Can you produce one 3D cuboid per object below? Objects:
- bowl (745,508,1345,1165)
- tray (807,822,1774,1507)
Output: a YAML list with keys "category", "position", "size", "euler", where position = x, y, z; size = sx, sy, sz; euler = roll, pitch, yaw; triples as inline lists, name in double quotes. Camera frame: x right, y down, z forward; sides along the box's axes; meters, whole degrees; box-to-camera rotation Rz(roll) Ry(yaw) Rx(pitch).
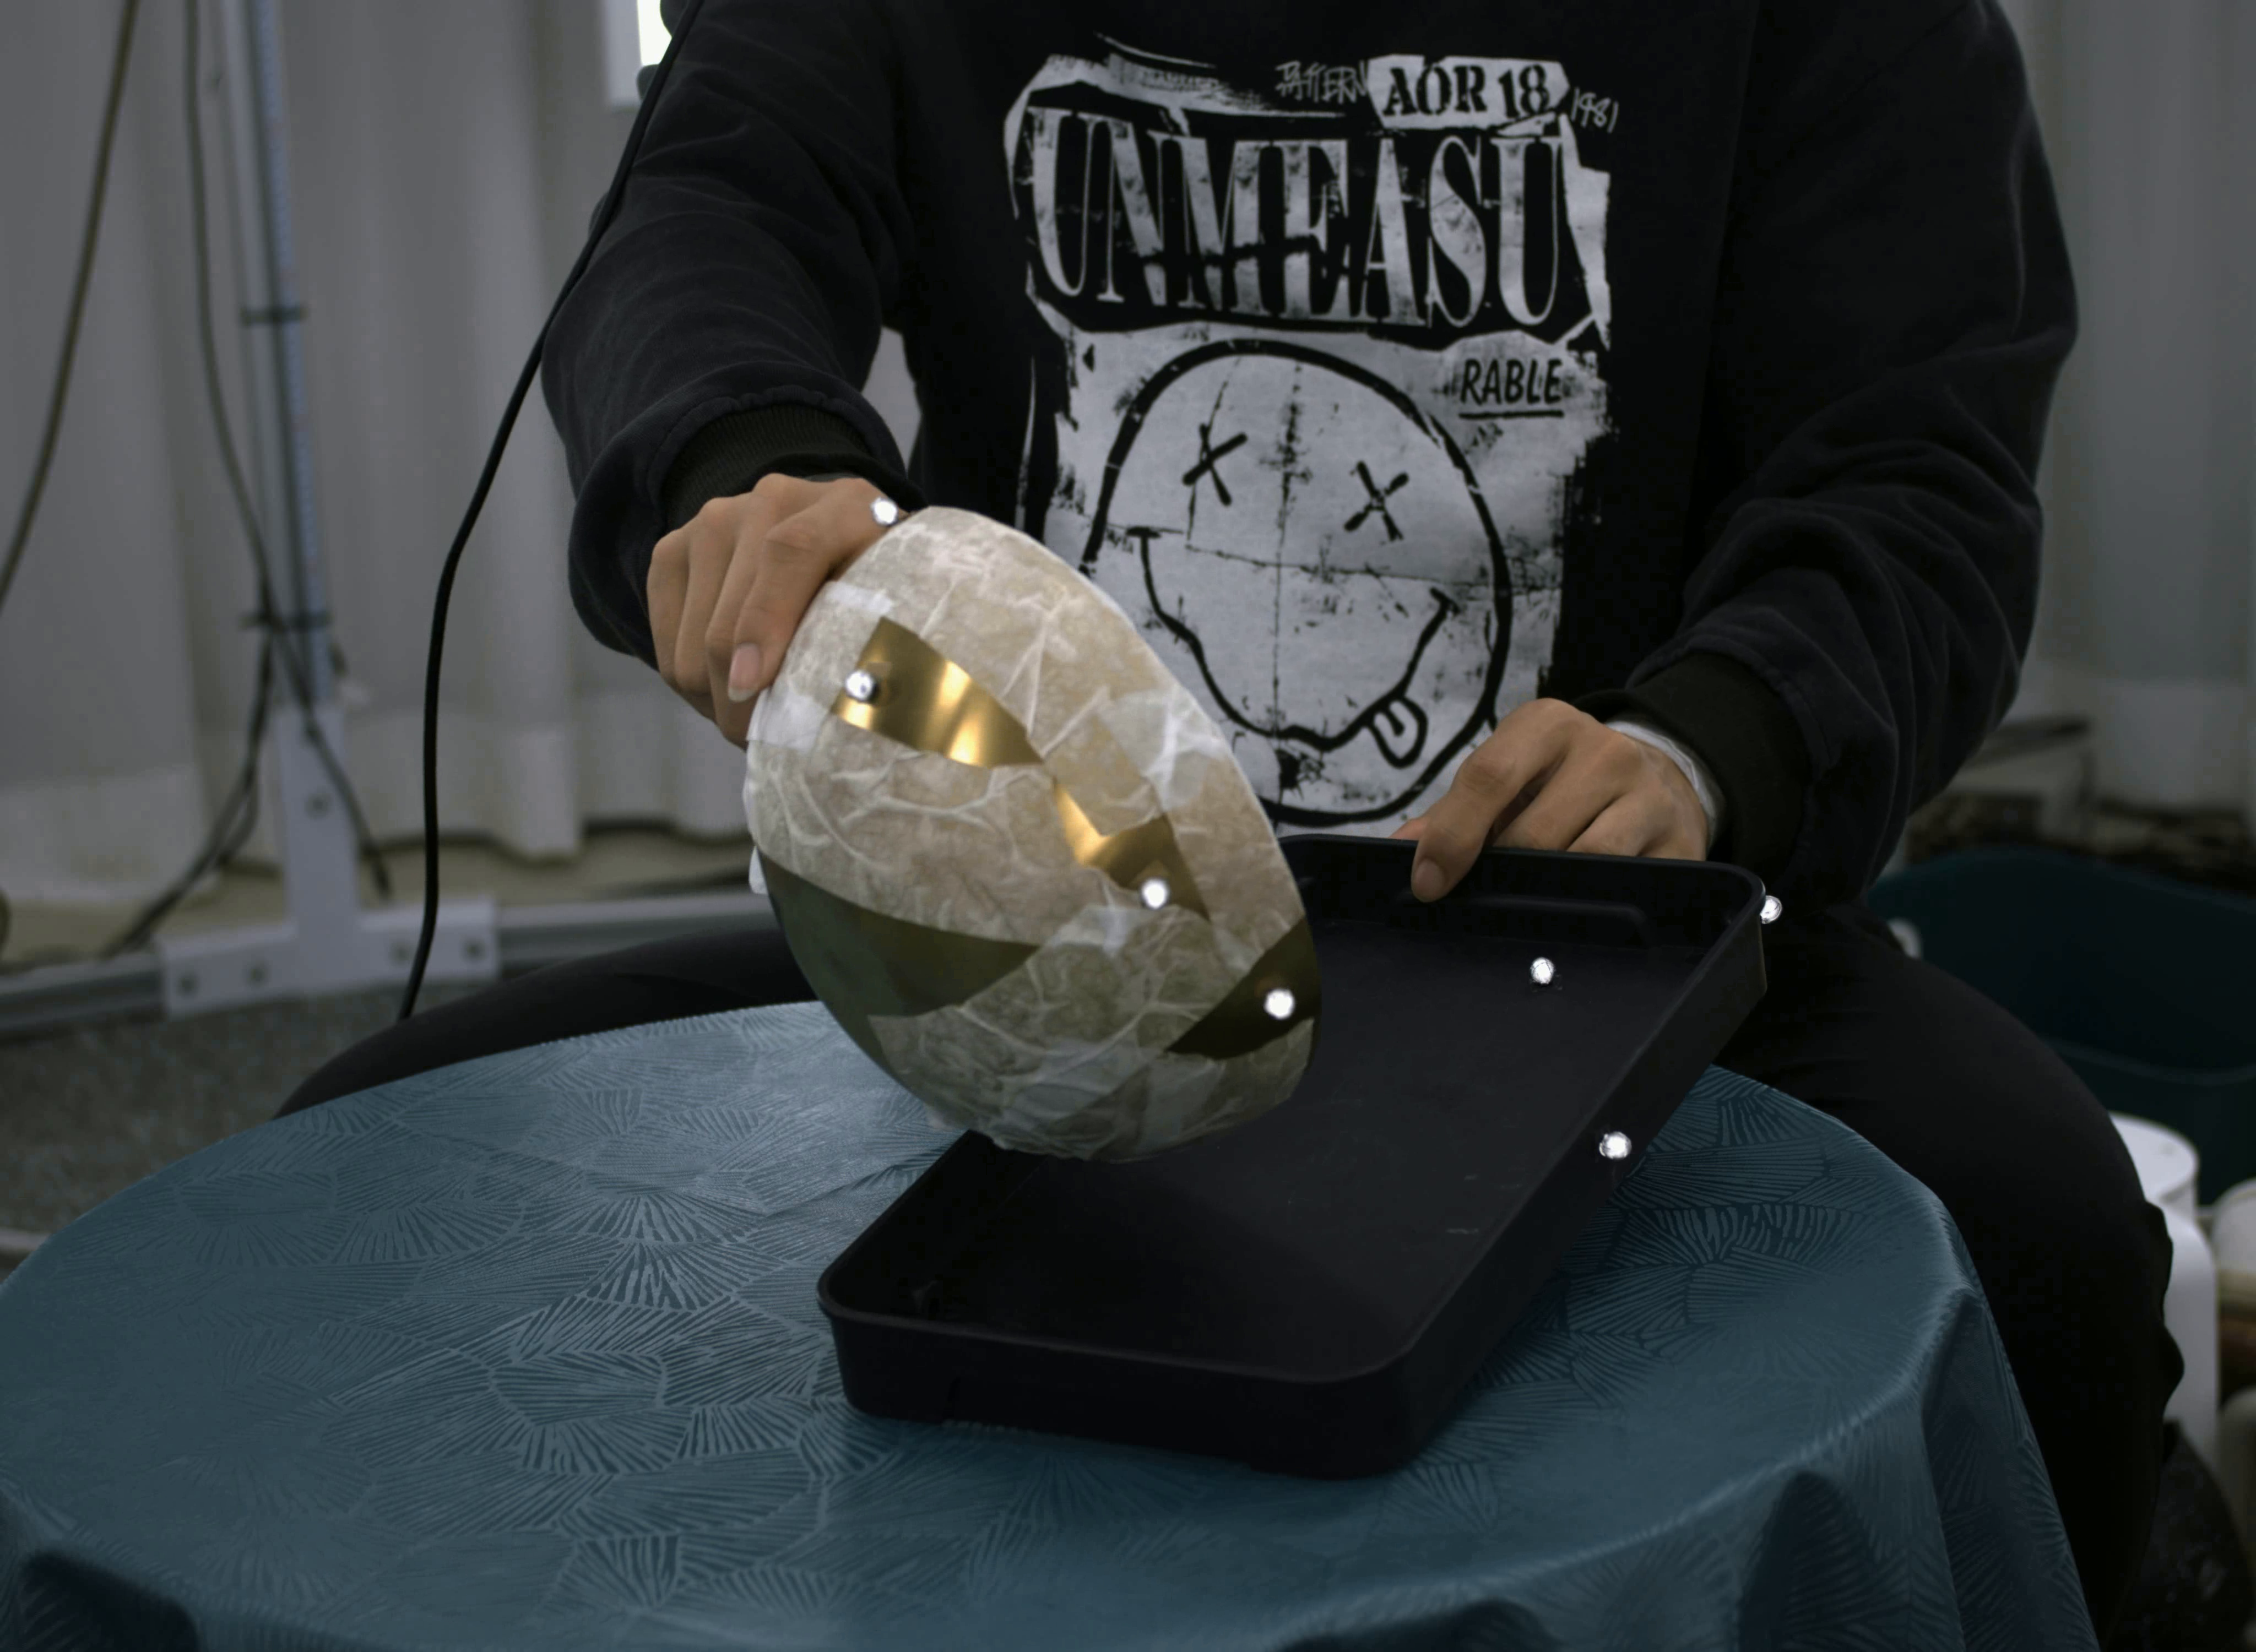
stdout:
- category: "bowl"
  position: [-0.043, 0.022, 1.551]
  size: [0.095, 0.212, 0.216]
  euler: [-34, 28, -24]
- category: "tray"
  position: [0.056, 0.092, 1.622]
  size: [0.185, 0.037, 0.320]
  euler: [6, 30, 28]
